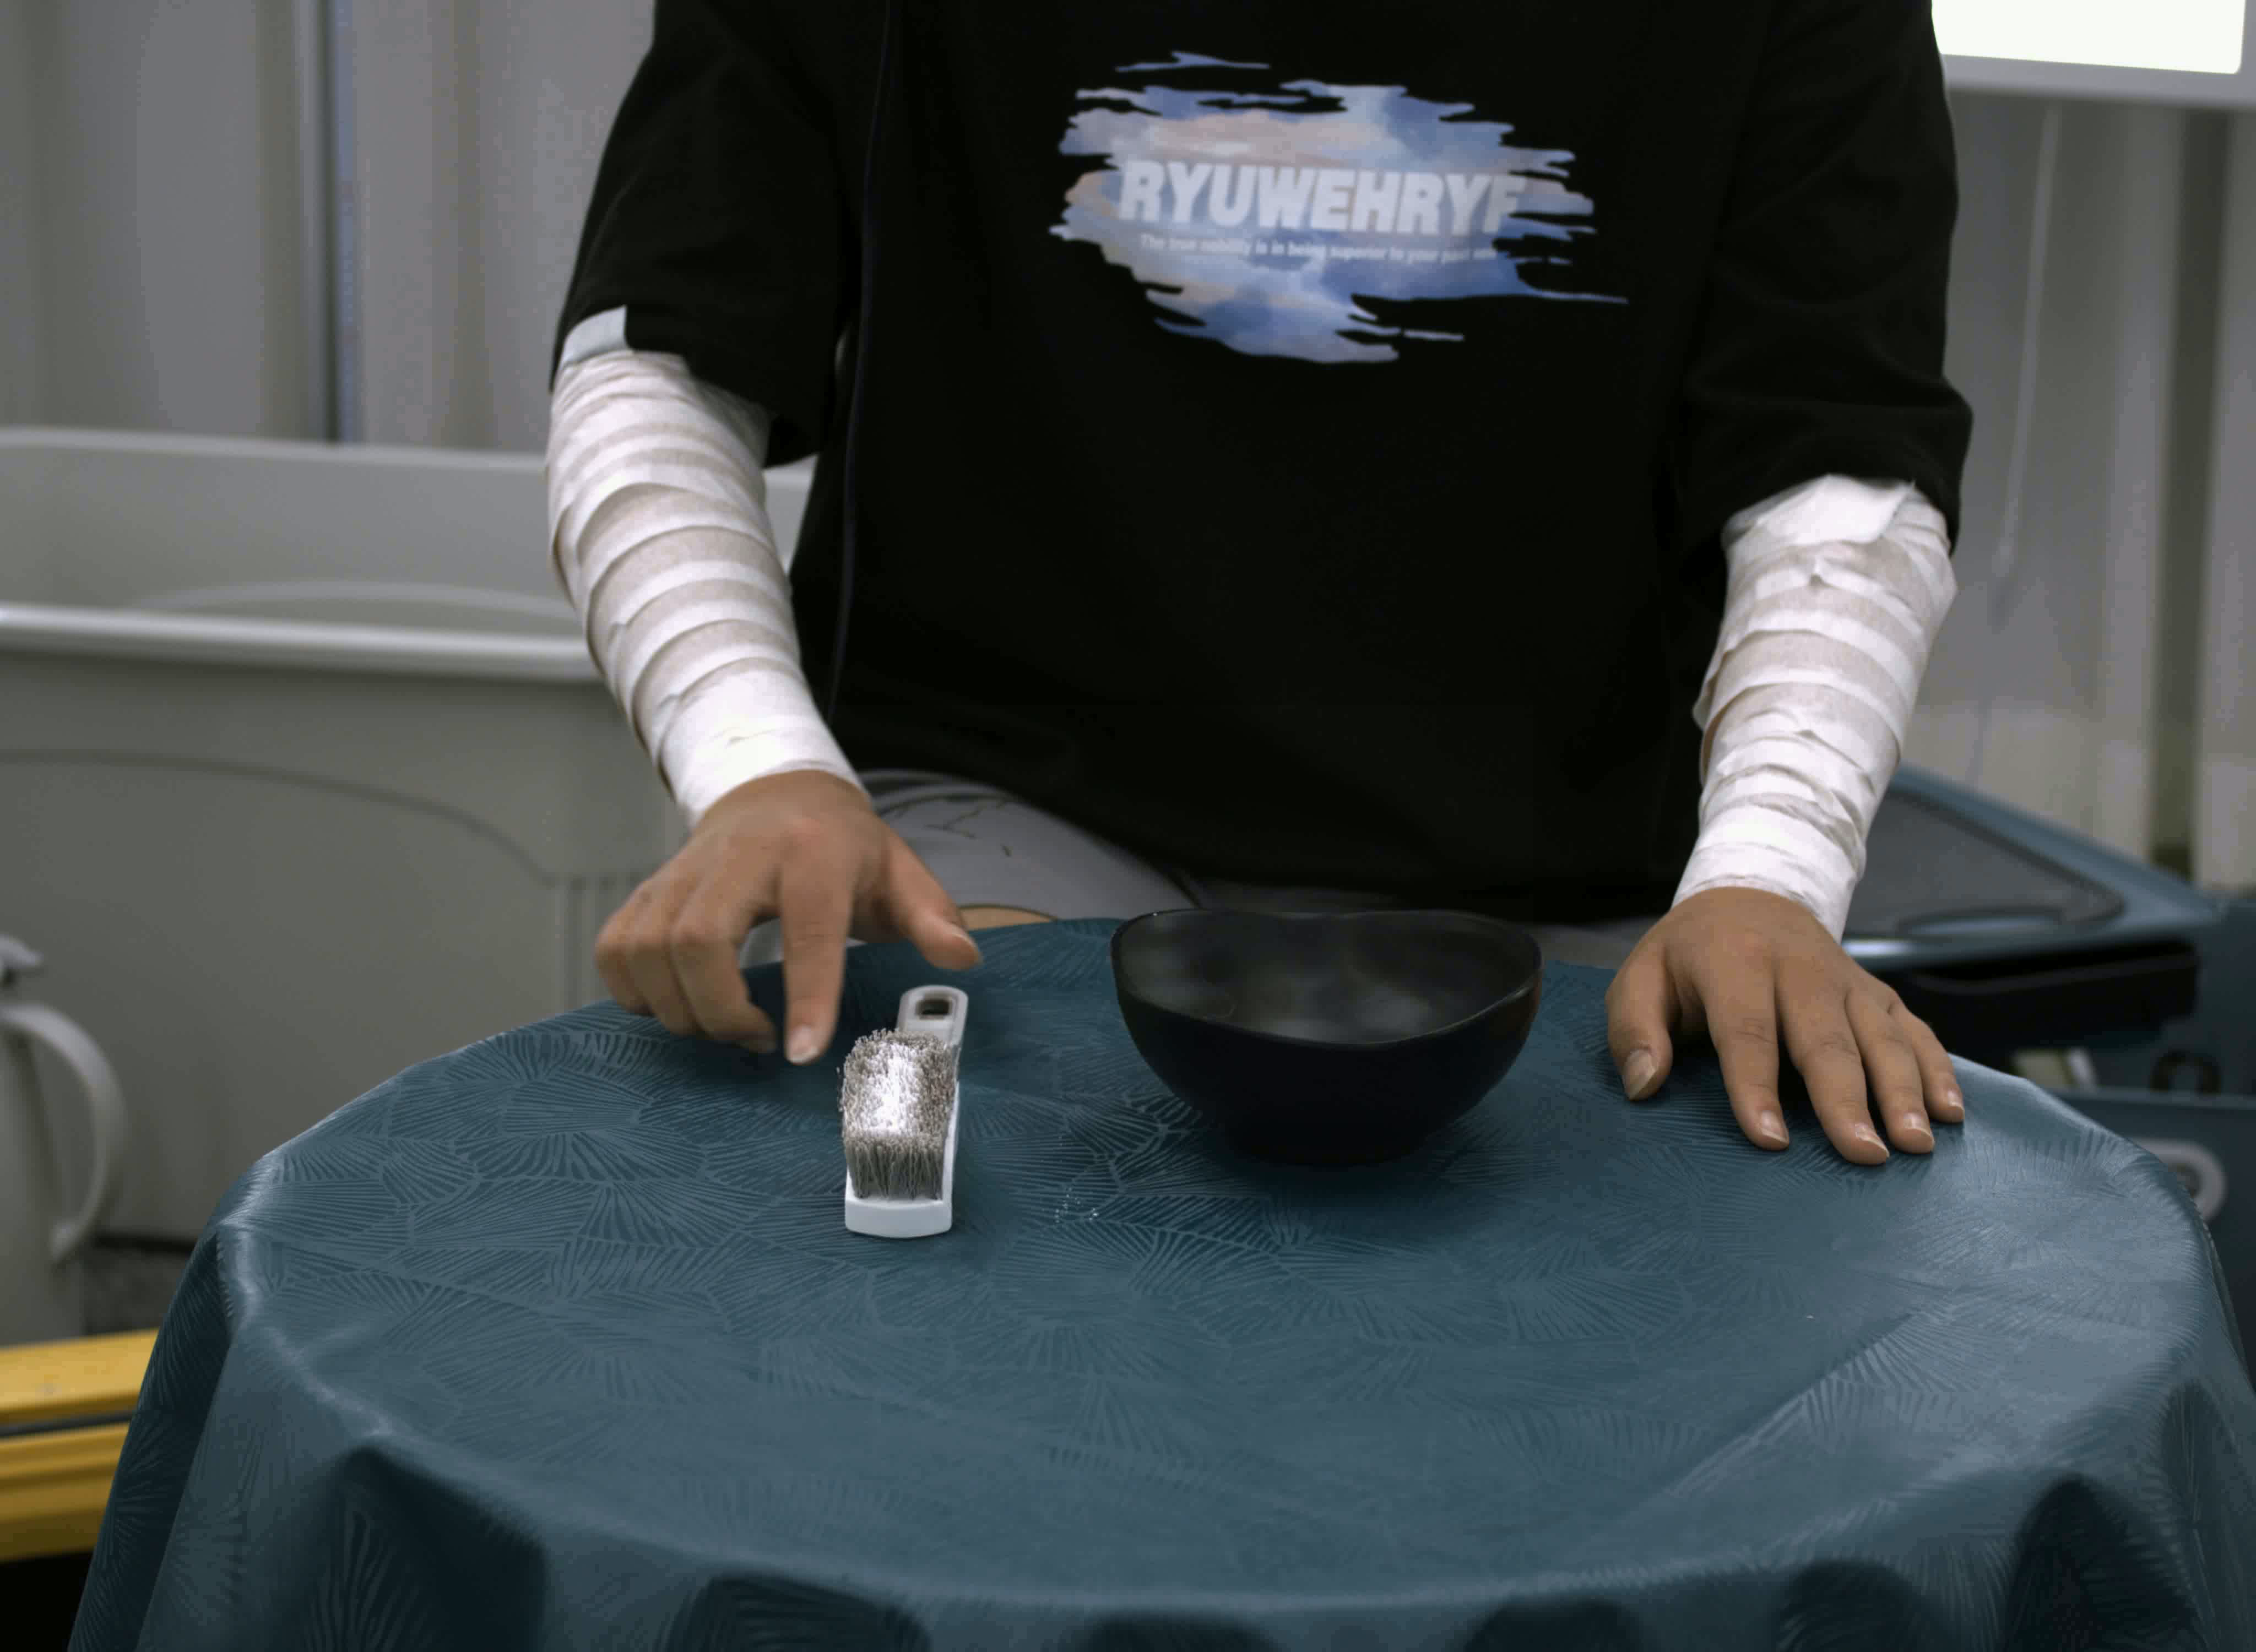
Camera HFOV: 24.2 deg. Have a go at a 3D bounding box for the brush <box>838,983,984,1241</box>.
[{"bbox_3d":[-0.066,0.071,1.678,0.034,0.050,0.242,2,16,3],"label":"brush"}]

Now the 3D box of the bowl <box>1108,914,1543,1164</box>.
[{"bbox_3d":[0.062,0.068,1.668,0.137,0.067,0.169,0,13,-2],"label":"bowl"}]
